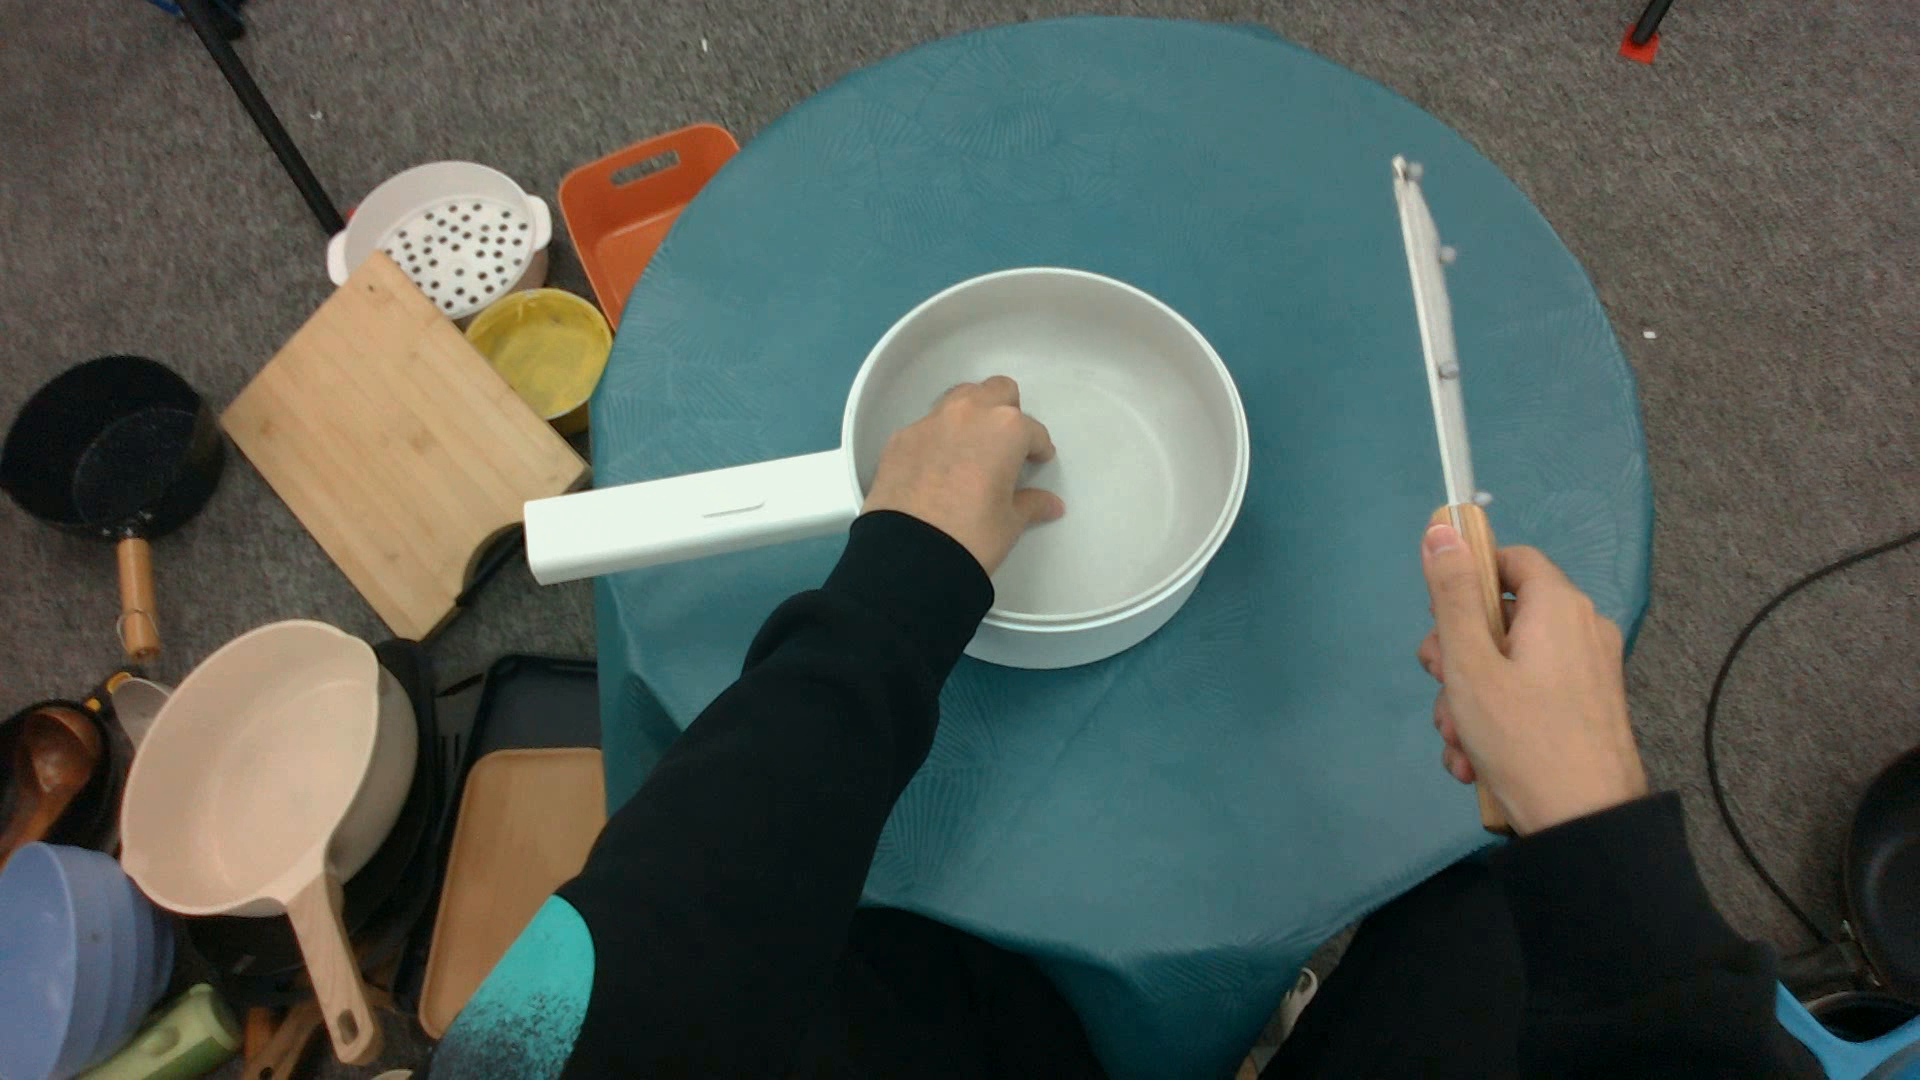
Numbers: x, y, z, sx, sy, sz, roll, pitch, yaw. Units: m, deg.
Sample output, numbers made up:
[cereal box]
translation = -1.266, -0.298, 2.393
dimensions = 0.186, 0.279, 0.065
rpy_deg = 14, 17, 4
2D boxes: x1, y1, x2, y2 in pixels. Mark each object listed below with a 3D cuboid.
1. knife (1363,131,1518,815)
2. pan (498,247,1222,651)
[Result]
[knife]
translation = 0.204, -0.038, 0.599
dimensions = 0.021, 0.114, 0.316
rpy_deg = -12, 65, 23
[pan]
translation = -0.046, -0.028, 0.711
dimensions = 0.355, 0.102, 0.202
rpy_deg = -11, 69, -5
